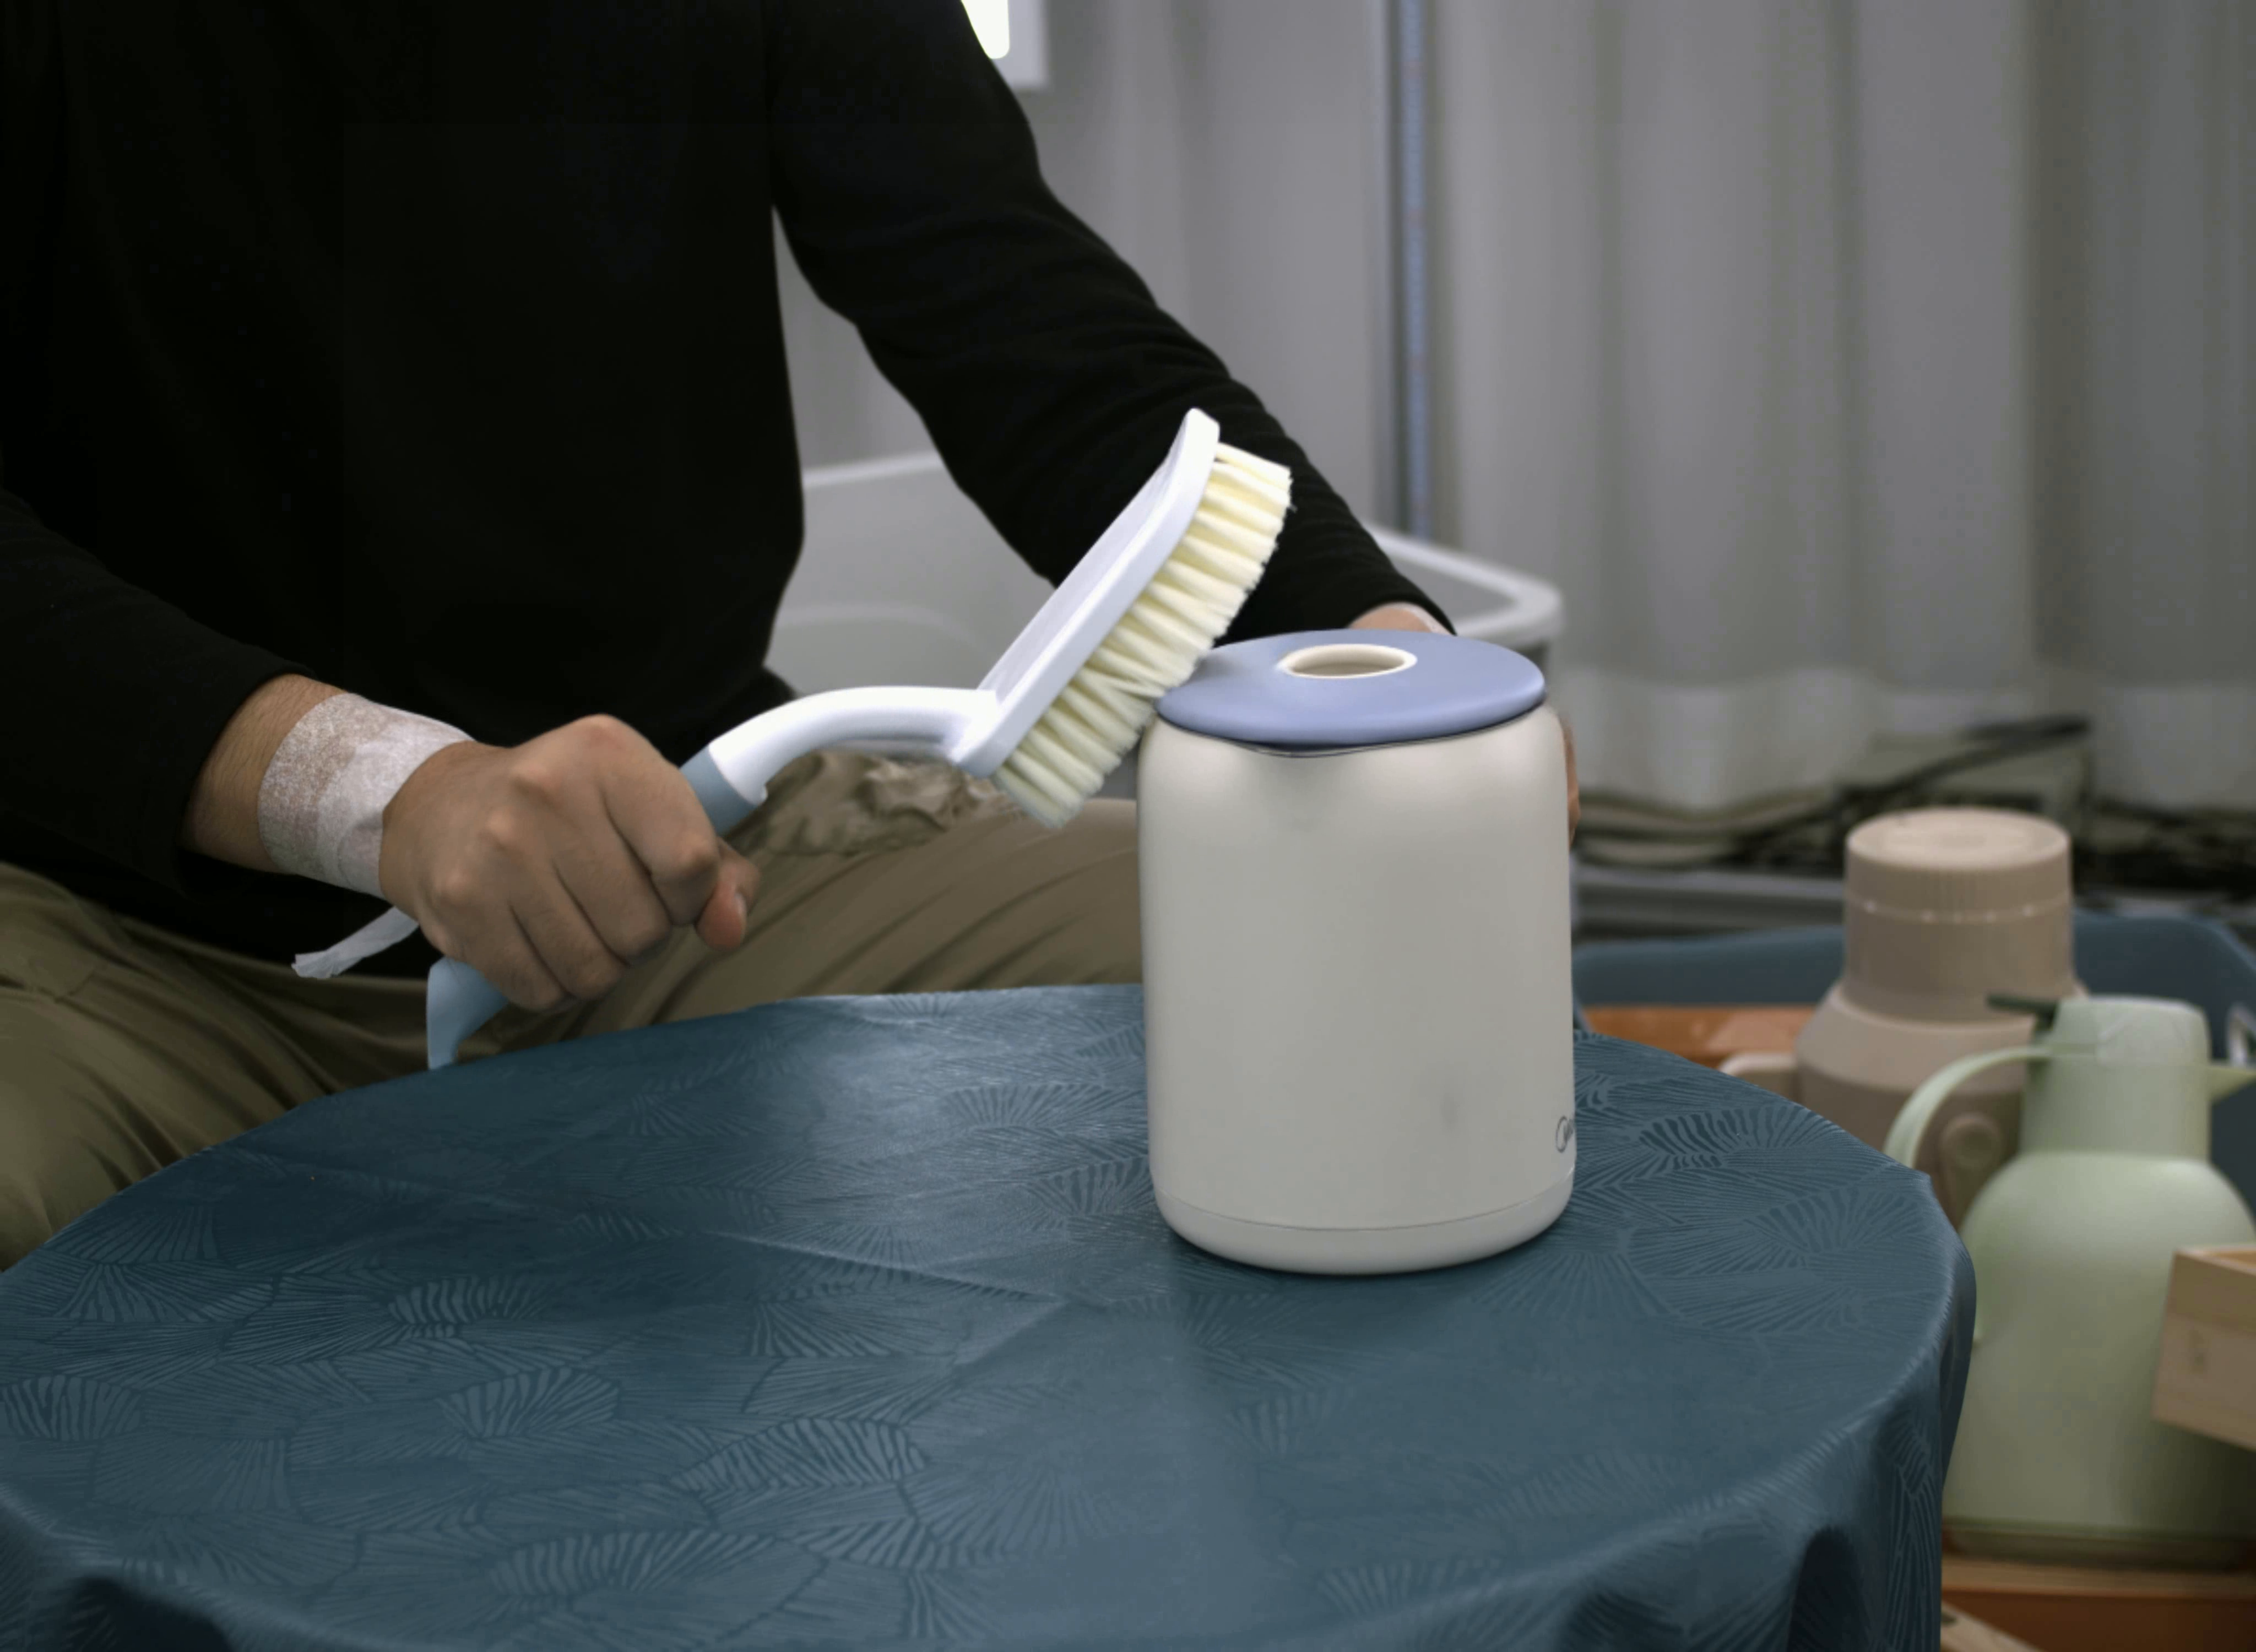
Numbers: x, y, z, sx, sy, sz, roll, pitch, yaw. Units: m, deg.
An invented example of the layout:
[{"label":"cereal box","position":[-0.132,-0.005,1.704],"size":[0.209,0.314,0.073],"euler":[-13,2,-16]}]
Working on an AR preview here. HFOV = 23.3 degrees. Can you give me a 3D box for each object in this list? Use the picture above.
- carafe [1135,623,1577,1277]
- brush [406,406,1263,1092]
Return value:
[{"label":"carafe","position":[0.075,0.030,1.684],"size":[0.132,0.182,0.192],"euler":[2,14,14]},{"label":"brush","position":[-0.080,-0.001,1.677],"size":[0.324,0.085,0.082],"euler":[-39,-28,9]}]
